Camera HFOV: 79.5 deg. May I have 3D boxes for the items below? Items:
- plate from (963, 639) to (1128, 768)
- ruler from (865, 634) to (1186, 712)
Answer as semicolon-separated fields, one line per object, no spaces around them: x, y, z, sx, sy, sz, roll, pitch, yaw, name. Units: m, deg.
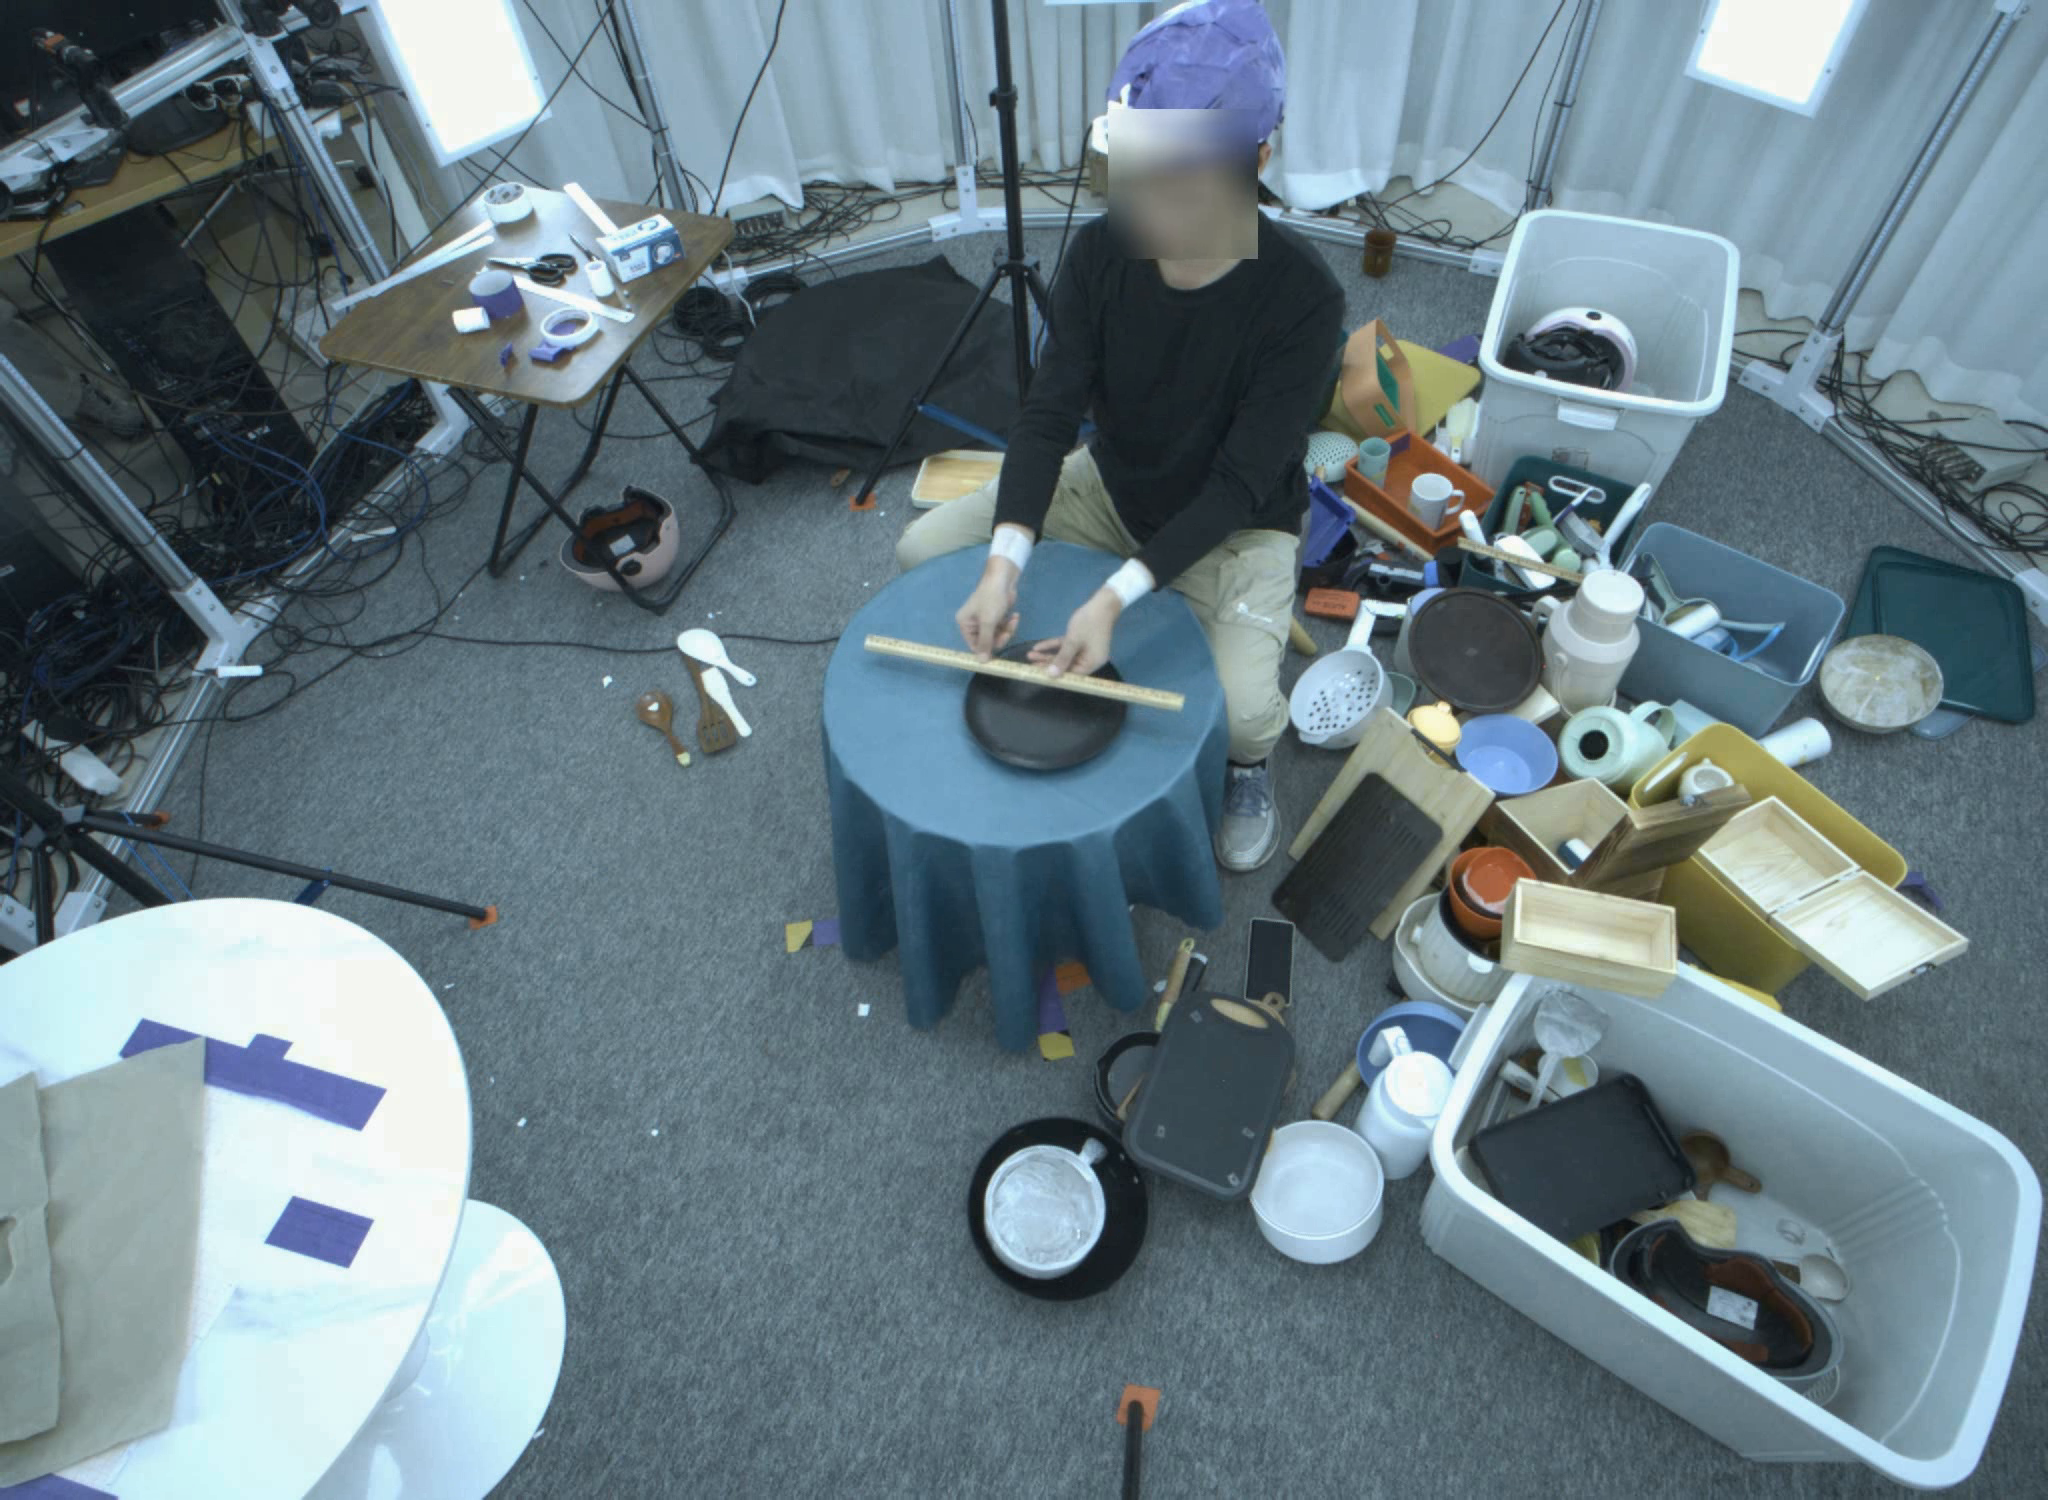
0.032;-0.066;1.819;0.244;0.024;0.242;0;54;2;plate
-0.007;-0.116;1.810;0.495;0.006;0.027;12;74;15;ruler
